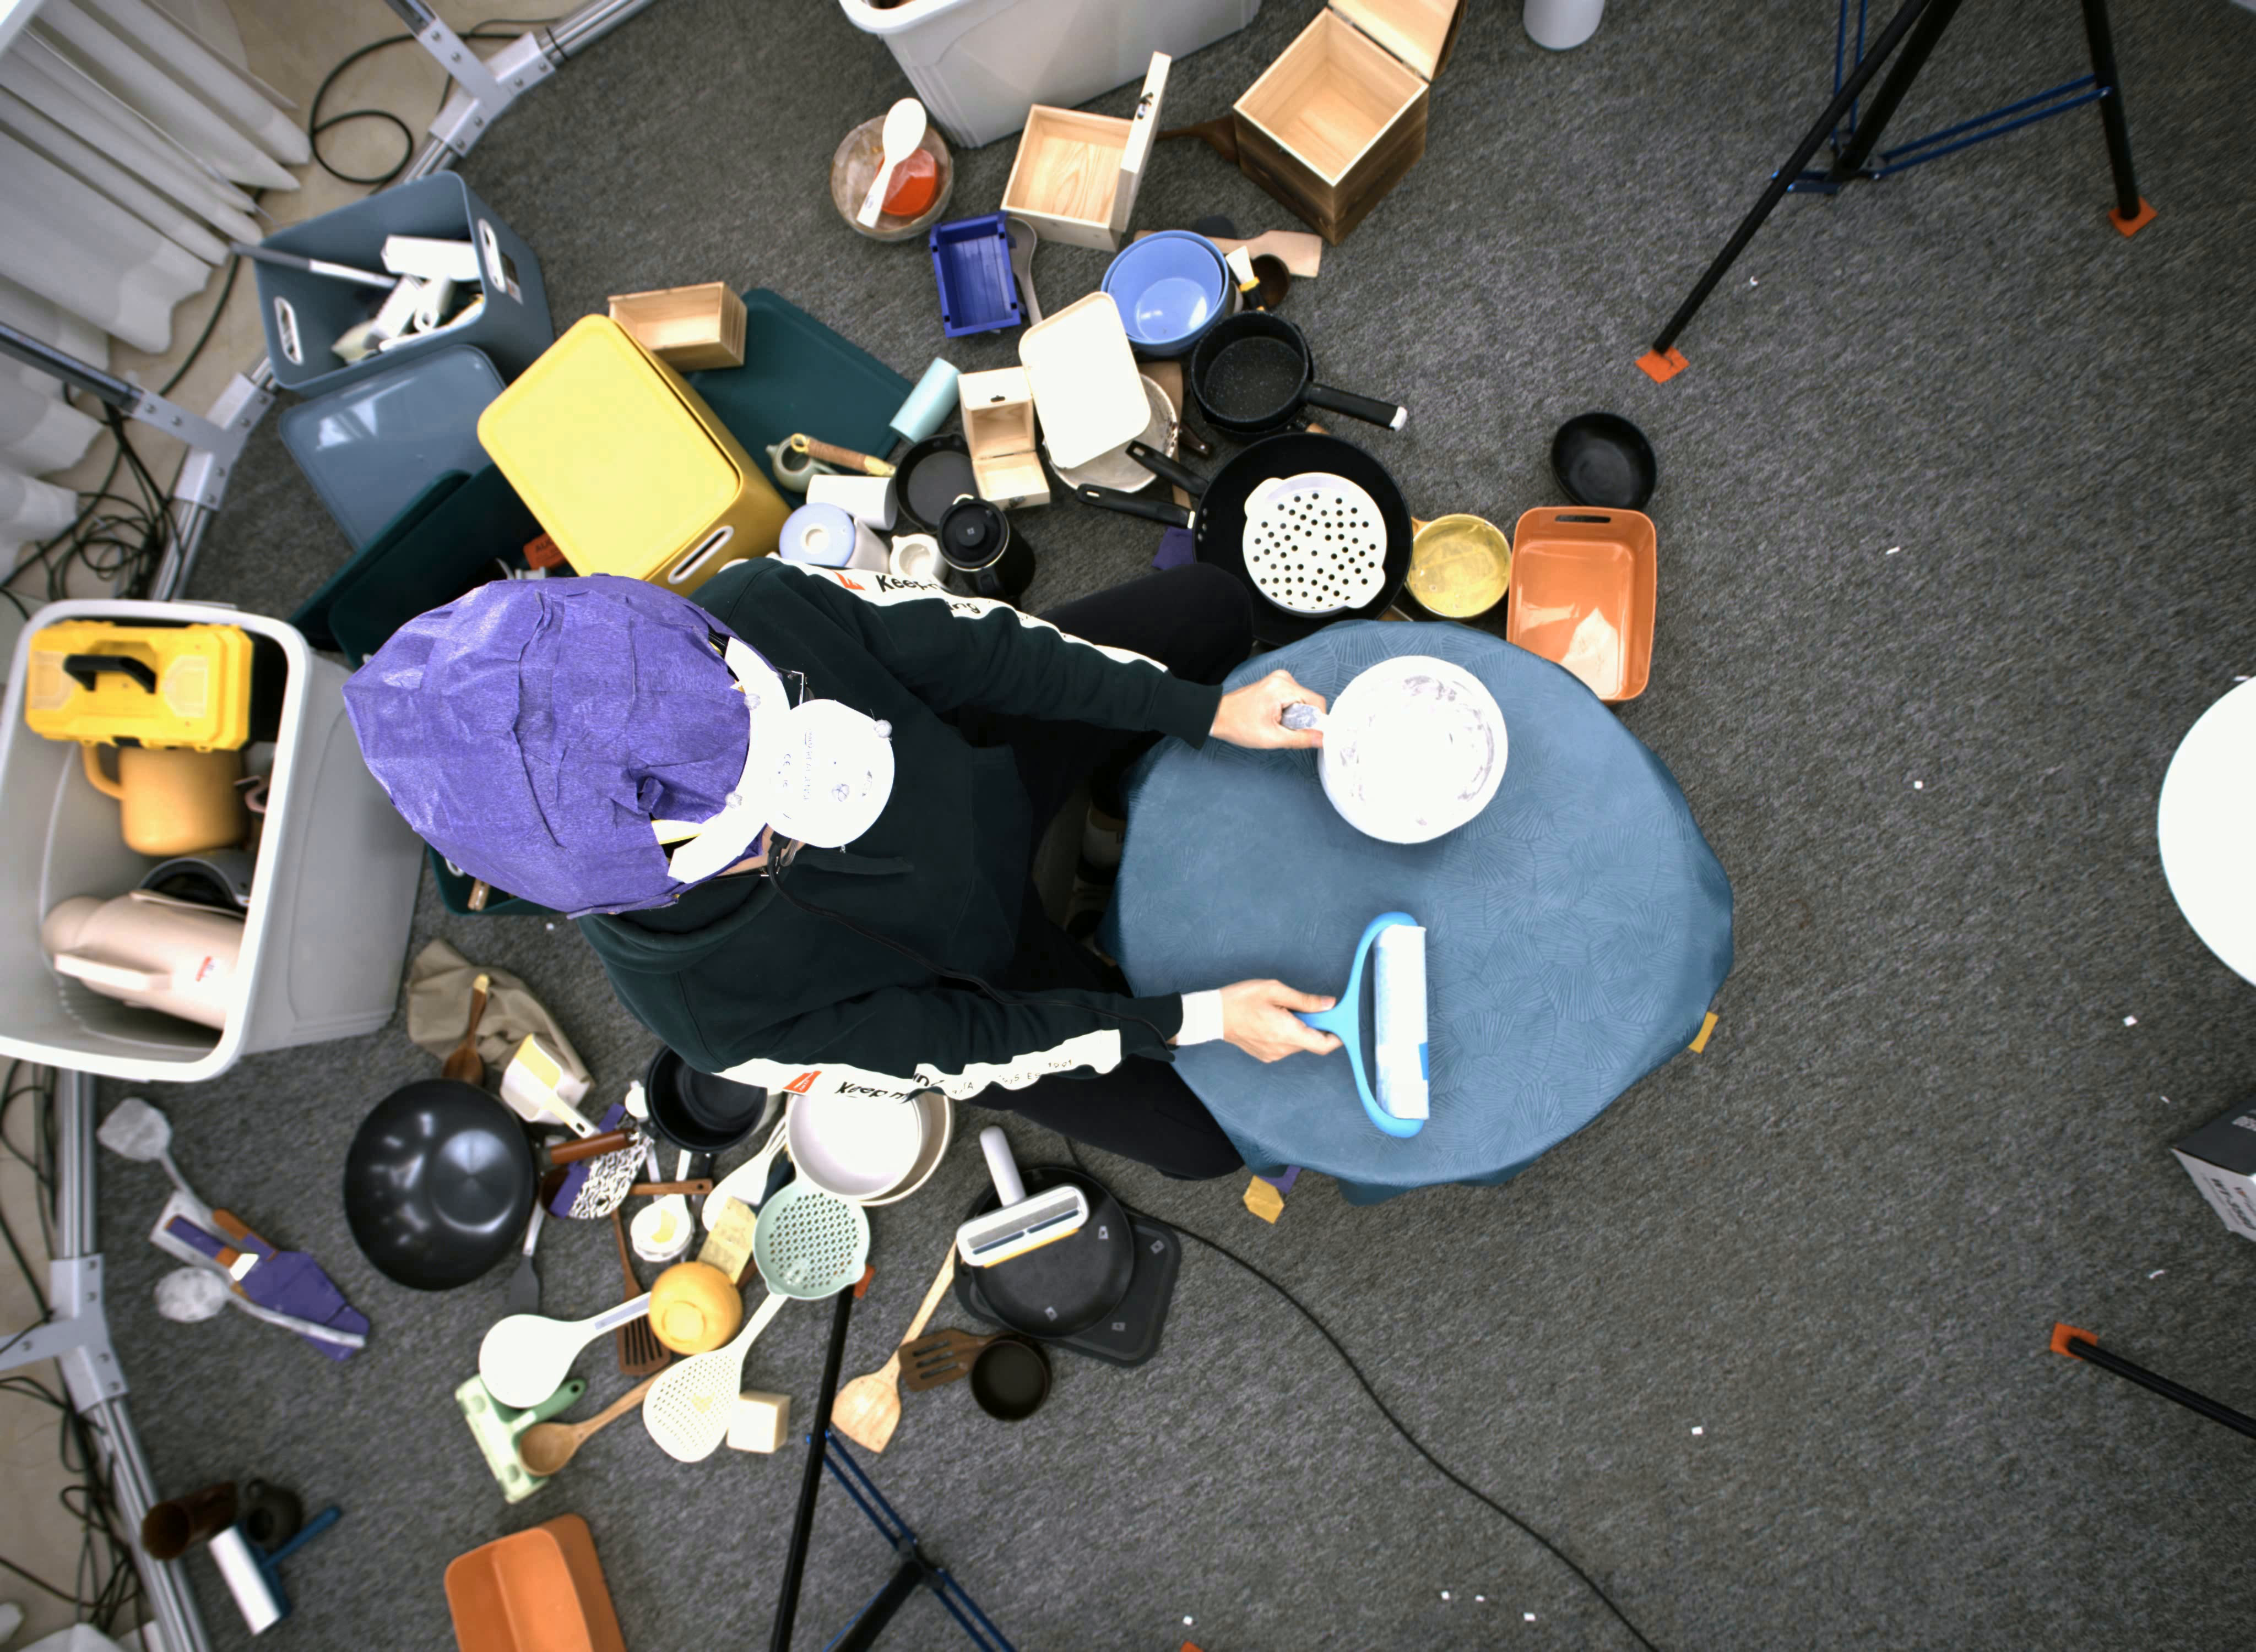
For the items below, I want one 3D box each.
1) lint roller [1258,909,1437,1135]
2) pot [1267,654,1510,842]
[{"bbox_3d":[0.222,0.201,1.413,0.181,0.068,0.227,-5,82,7],"label":"lint roller"},{"bbox_3d":[0.255,-0.082,1.386,0.234,0.136,0.178,16,89,4],"label":"pot"}]
